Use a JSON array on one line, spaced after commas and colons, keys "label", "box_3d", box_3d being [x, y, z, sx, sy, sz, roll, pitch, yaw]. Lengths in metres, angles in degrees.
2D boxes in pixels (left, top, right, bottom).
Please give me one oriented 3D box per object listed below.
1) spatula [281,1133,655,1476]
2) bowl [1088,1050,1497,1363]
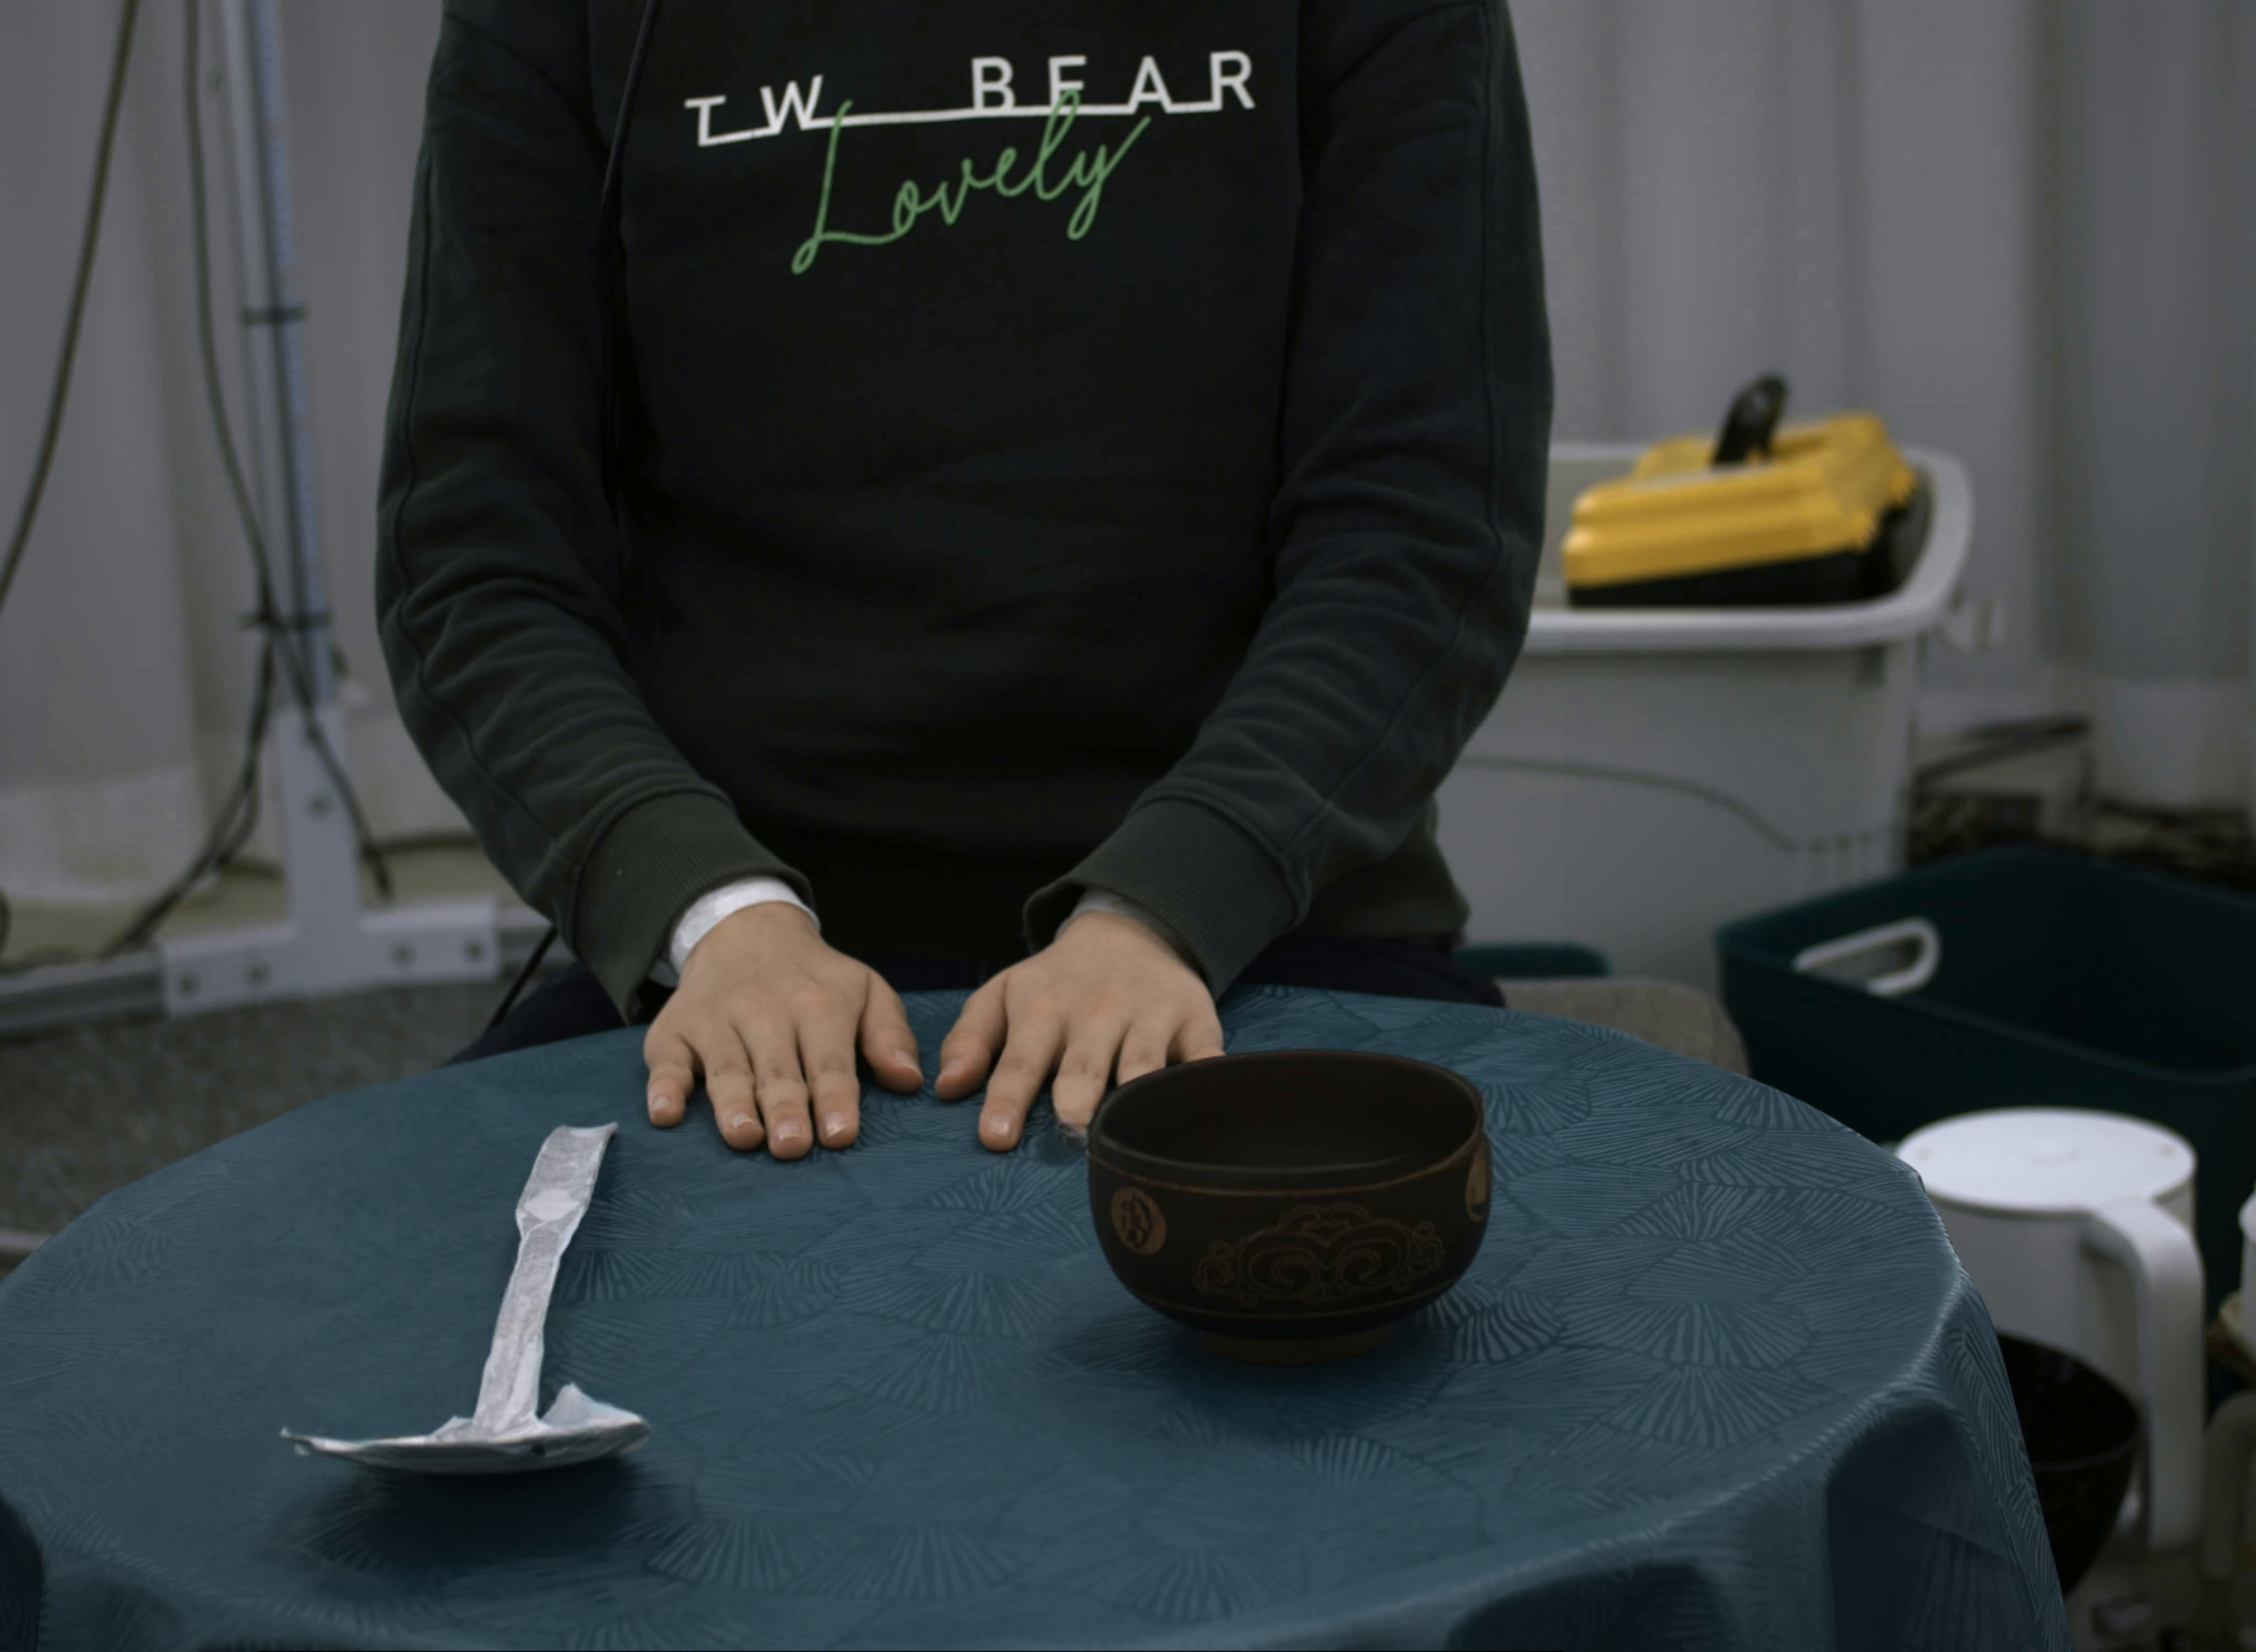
[{"label": "spatula", "box_3d": [-0.172, 0.132, 1.608, 0.098, 0.044, 0.367, -4, 15, 2]}, {"label": "bowl", "box_3d": [0.048, 0.113, 1.575, 0.117, 0.069, 0.119, -1, 13, 0]}]
